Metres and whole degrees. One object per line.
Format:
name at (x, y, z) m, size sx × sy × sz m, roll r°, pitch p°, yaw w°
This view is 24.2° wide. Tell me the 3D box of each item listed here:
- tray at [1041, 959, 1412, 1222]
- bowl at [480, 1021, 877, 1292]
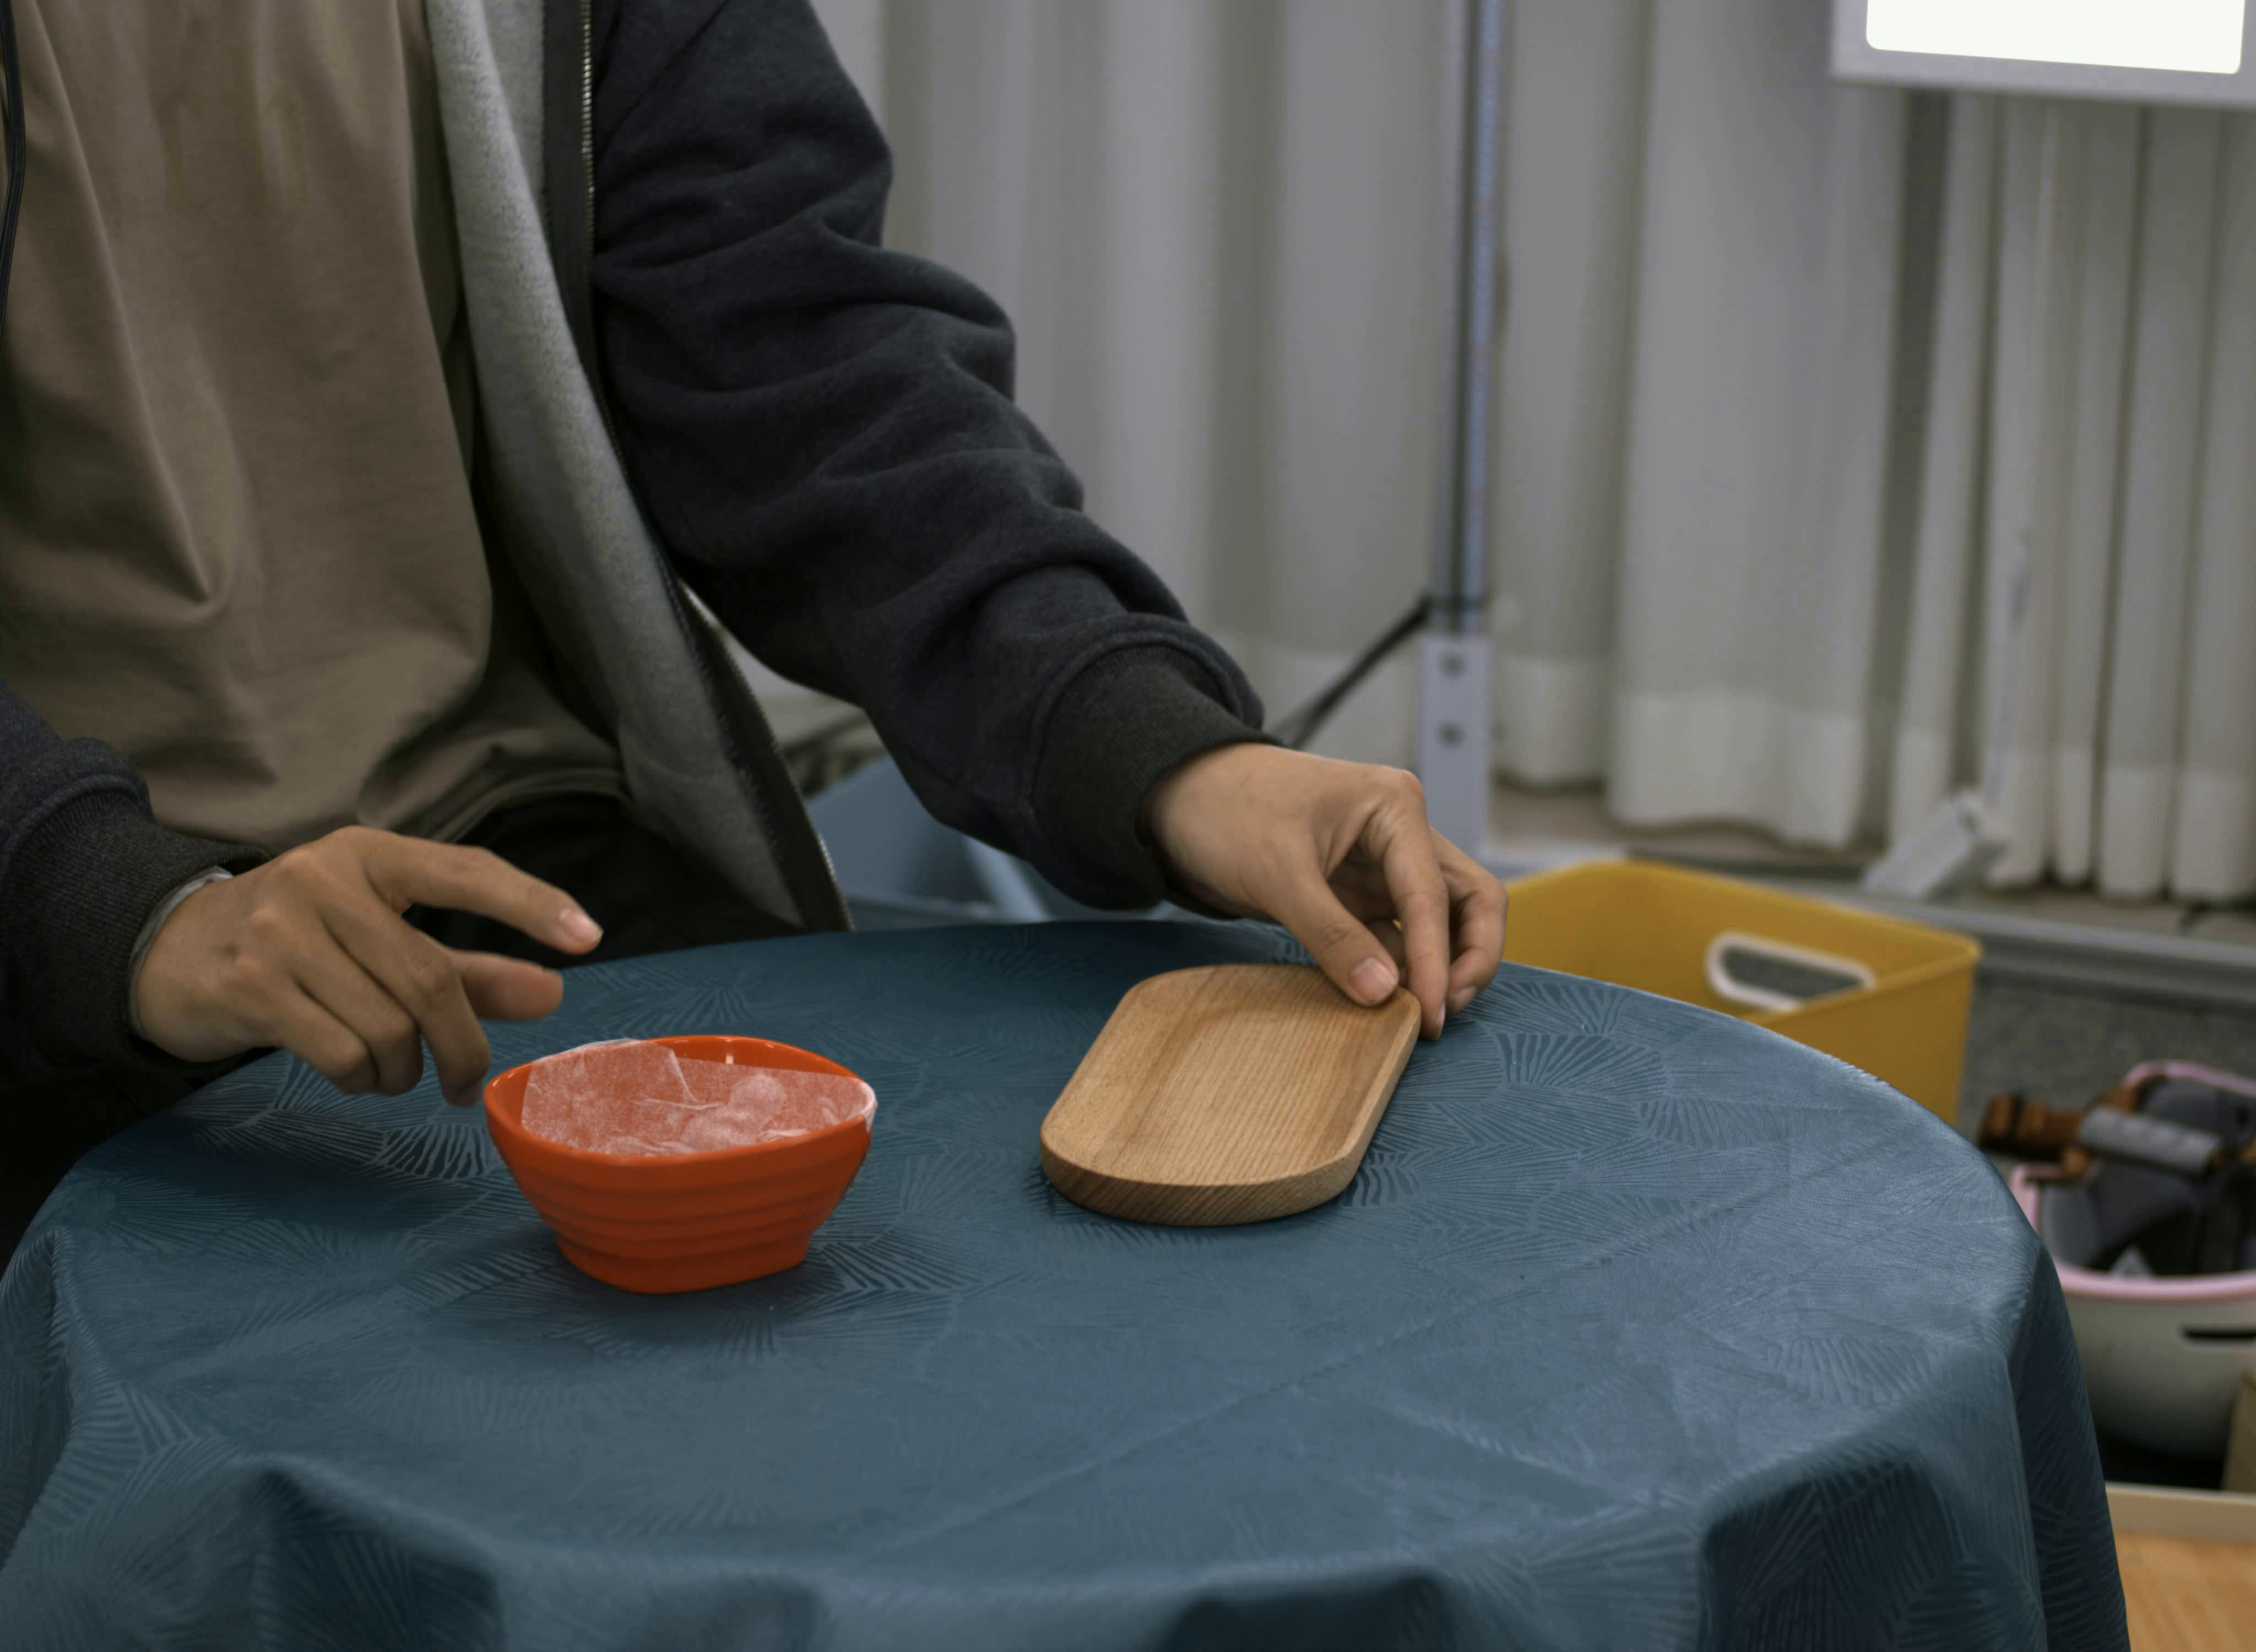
tray at (0.034, 0.083, 1.699) m, size 0.101 × 0.020 × 0.230 m, roll 4°, pitch 15°, yaw 8°
bowl at (-0.133, 0.100, 1.558) m, size 0.118 × 0.052 × 0.118 m, roll 1°, pitch 18°, yaw 0°
